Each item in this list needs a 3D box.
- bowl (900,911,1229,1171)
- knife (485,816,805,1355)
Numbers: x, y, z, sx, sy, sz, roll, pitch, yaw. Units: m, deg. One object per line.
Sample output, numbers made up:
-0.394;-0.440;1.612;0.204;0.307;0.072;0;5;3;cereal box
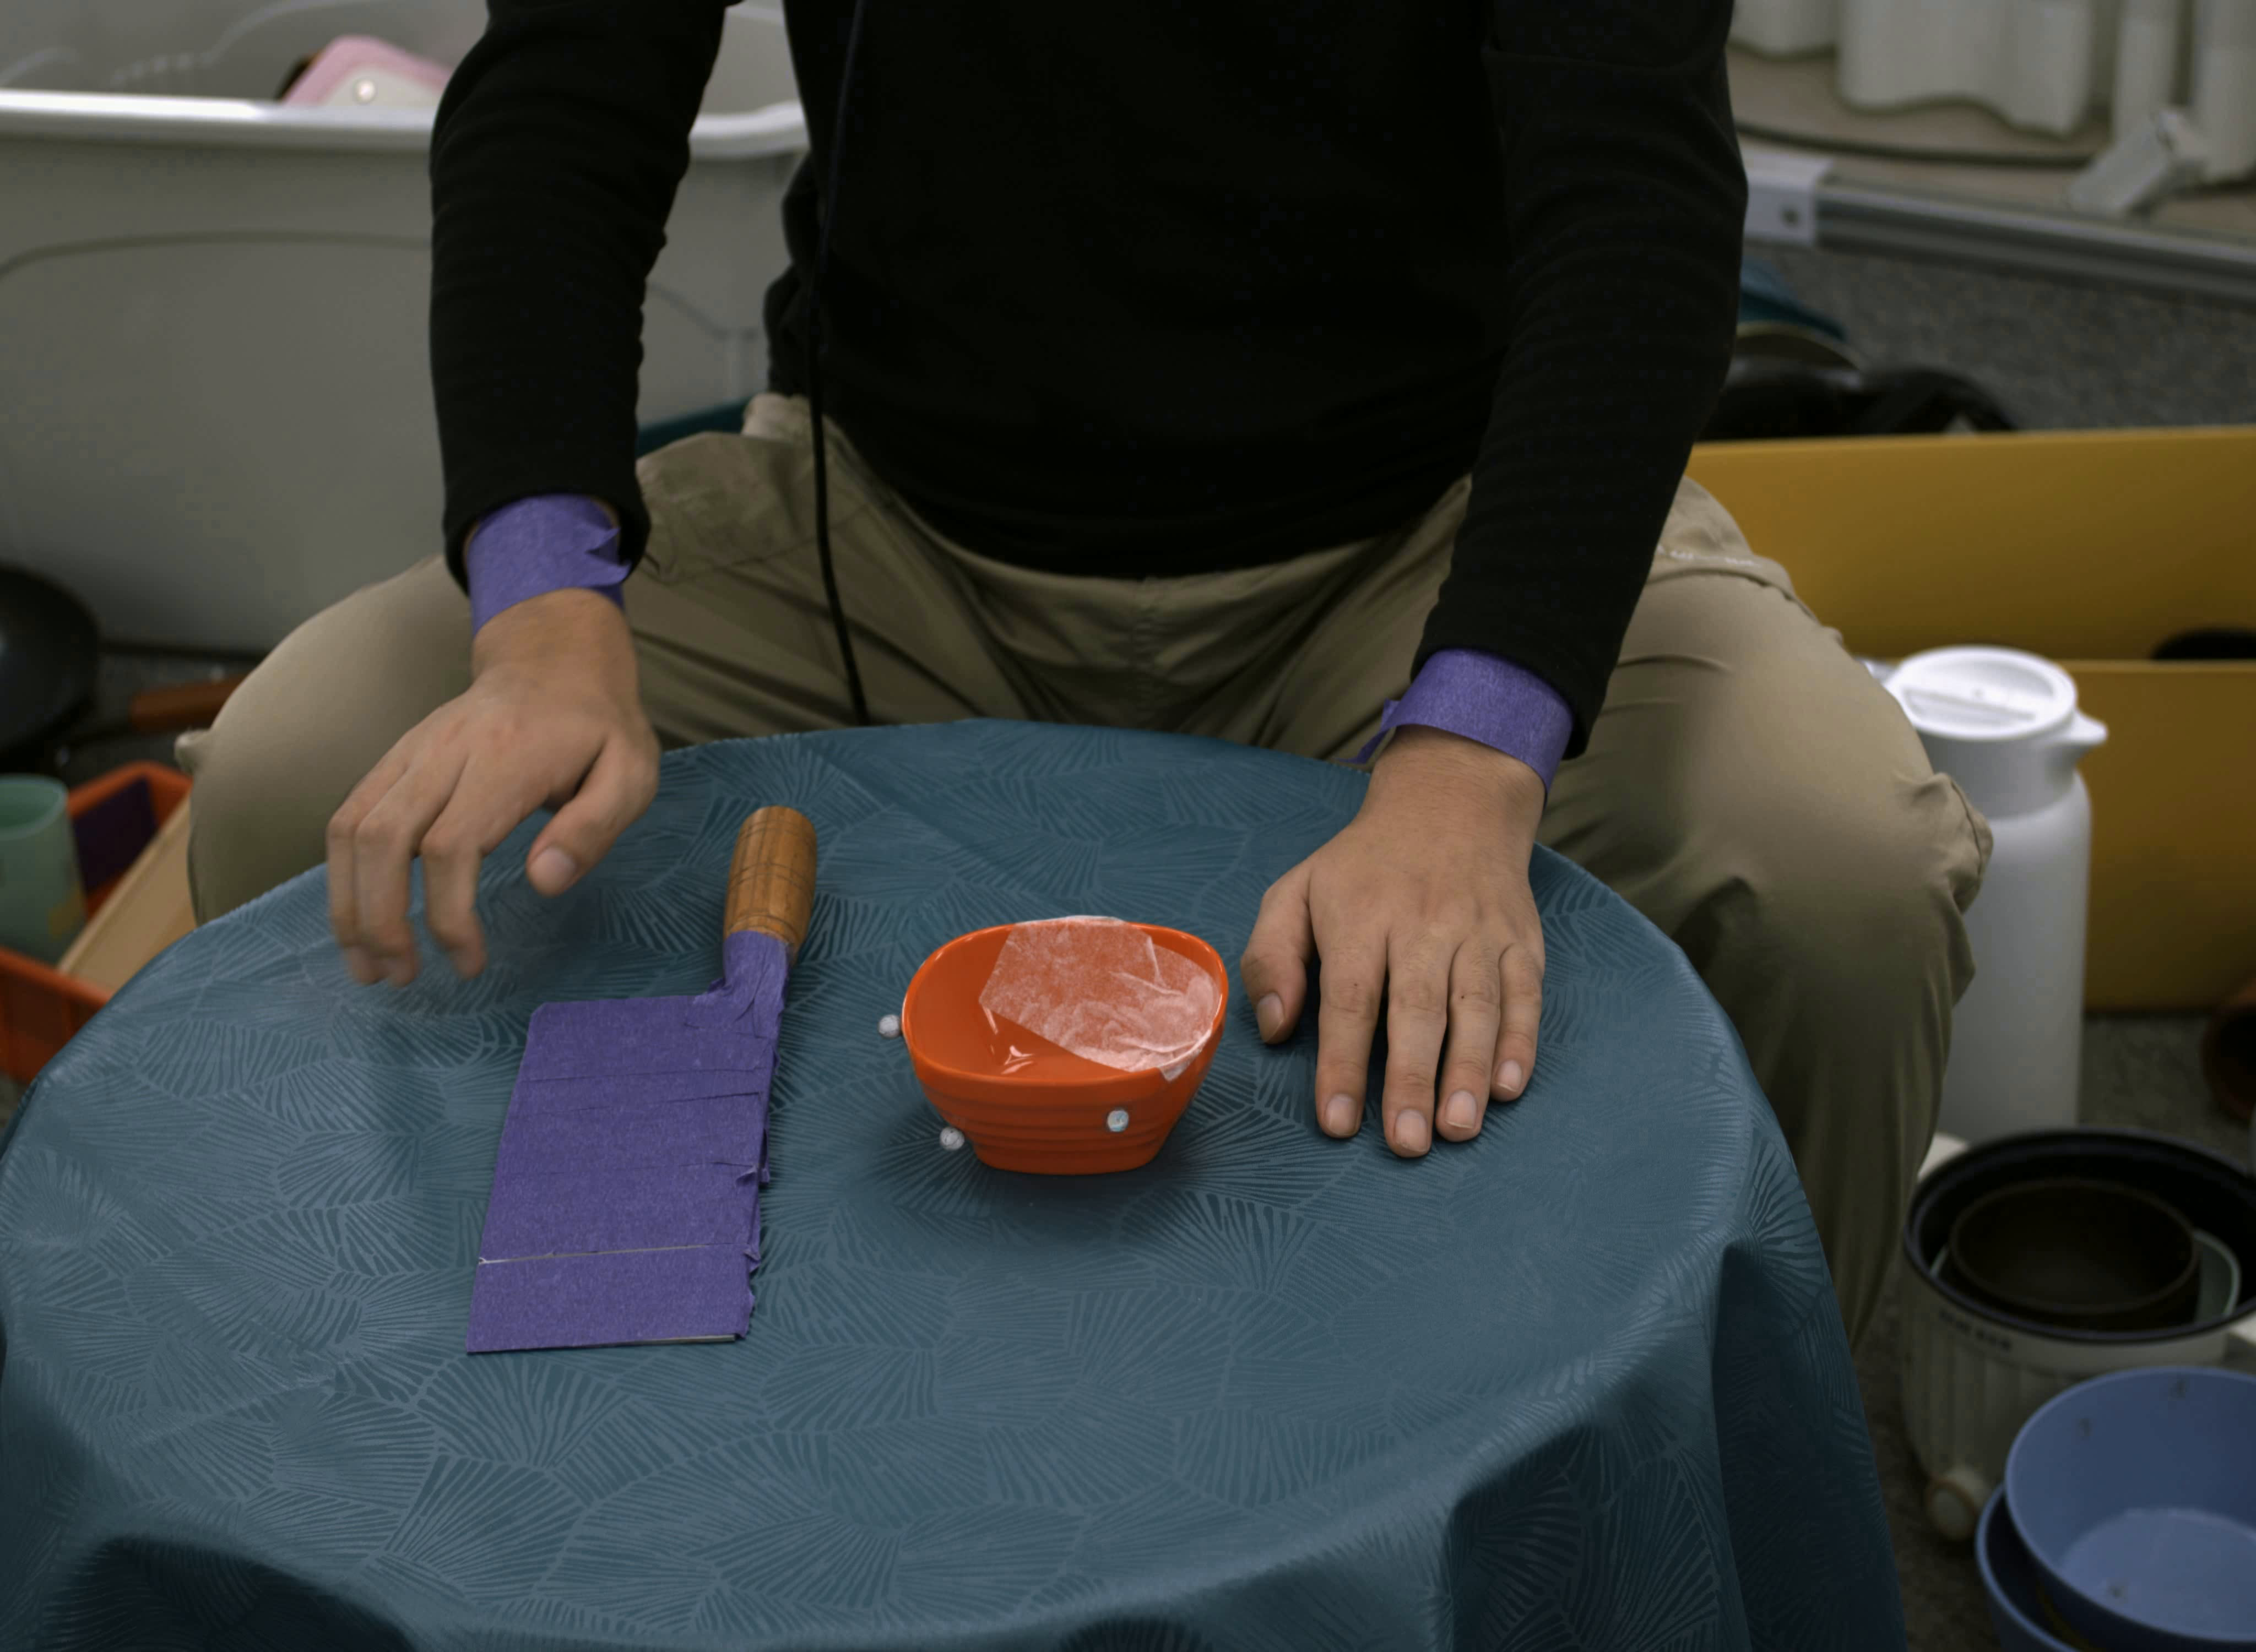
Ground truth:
-0.020;0.077;1.887;0.118;0.051;0.121;-2;29;2;bowl
-0.163;0.084;1.918;0.103;0.032;0.320;-2;28;1;knife
